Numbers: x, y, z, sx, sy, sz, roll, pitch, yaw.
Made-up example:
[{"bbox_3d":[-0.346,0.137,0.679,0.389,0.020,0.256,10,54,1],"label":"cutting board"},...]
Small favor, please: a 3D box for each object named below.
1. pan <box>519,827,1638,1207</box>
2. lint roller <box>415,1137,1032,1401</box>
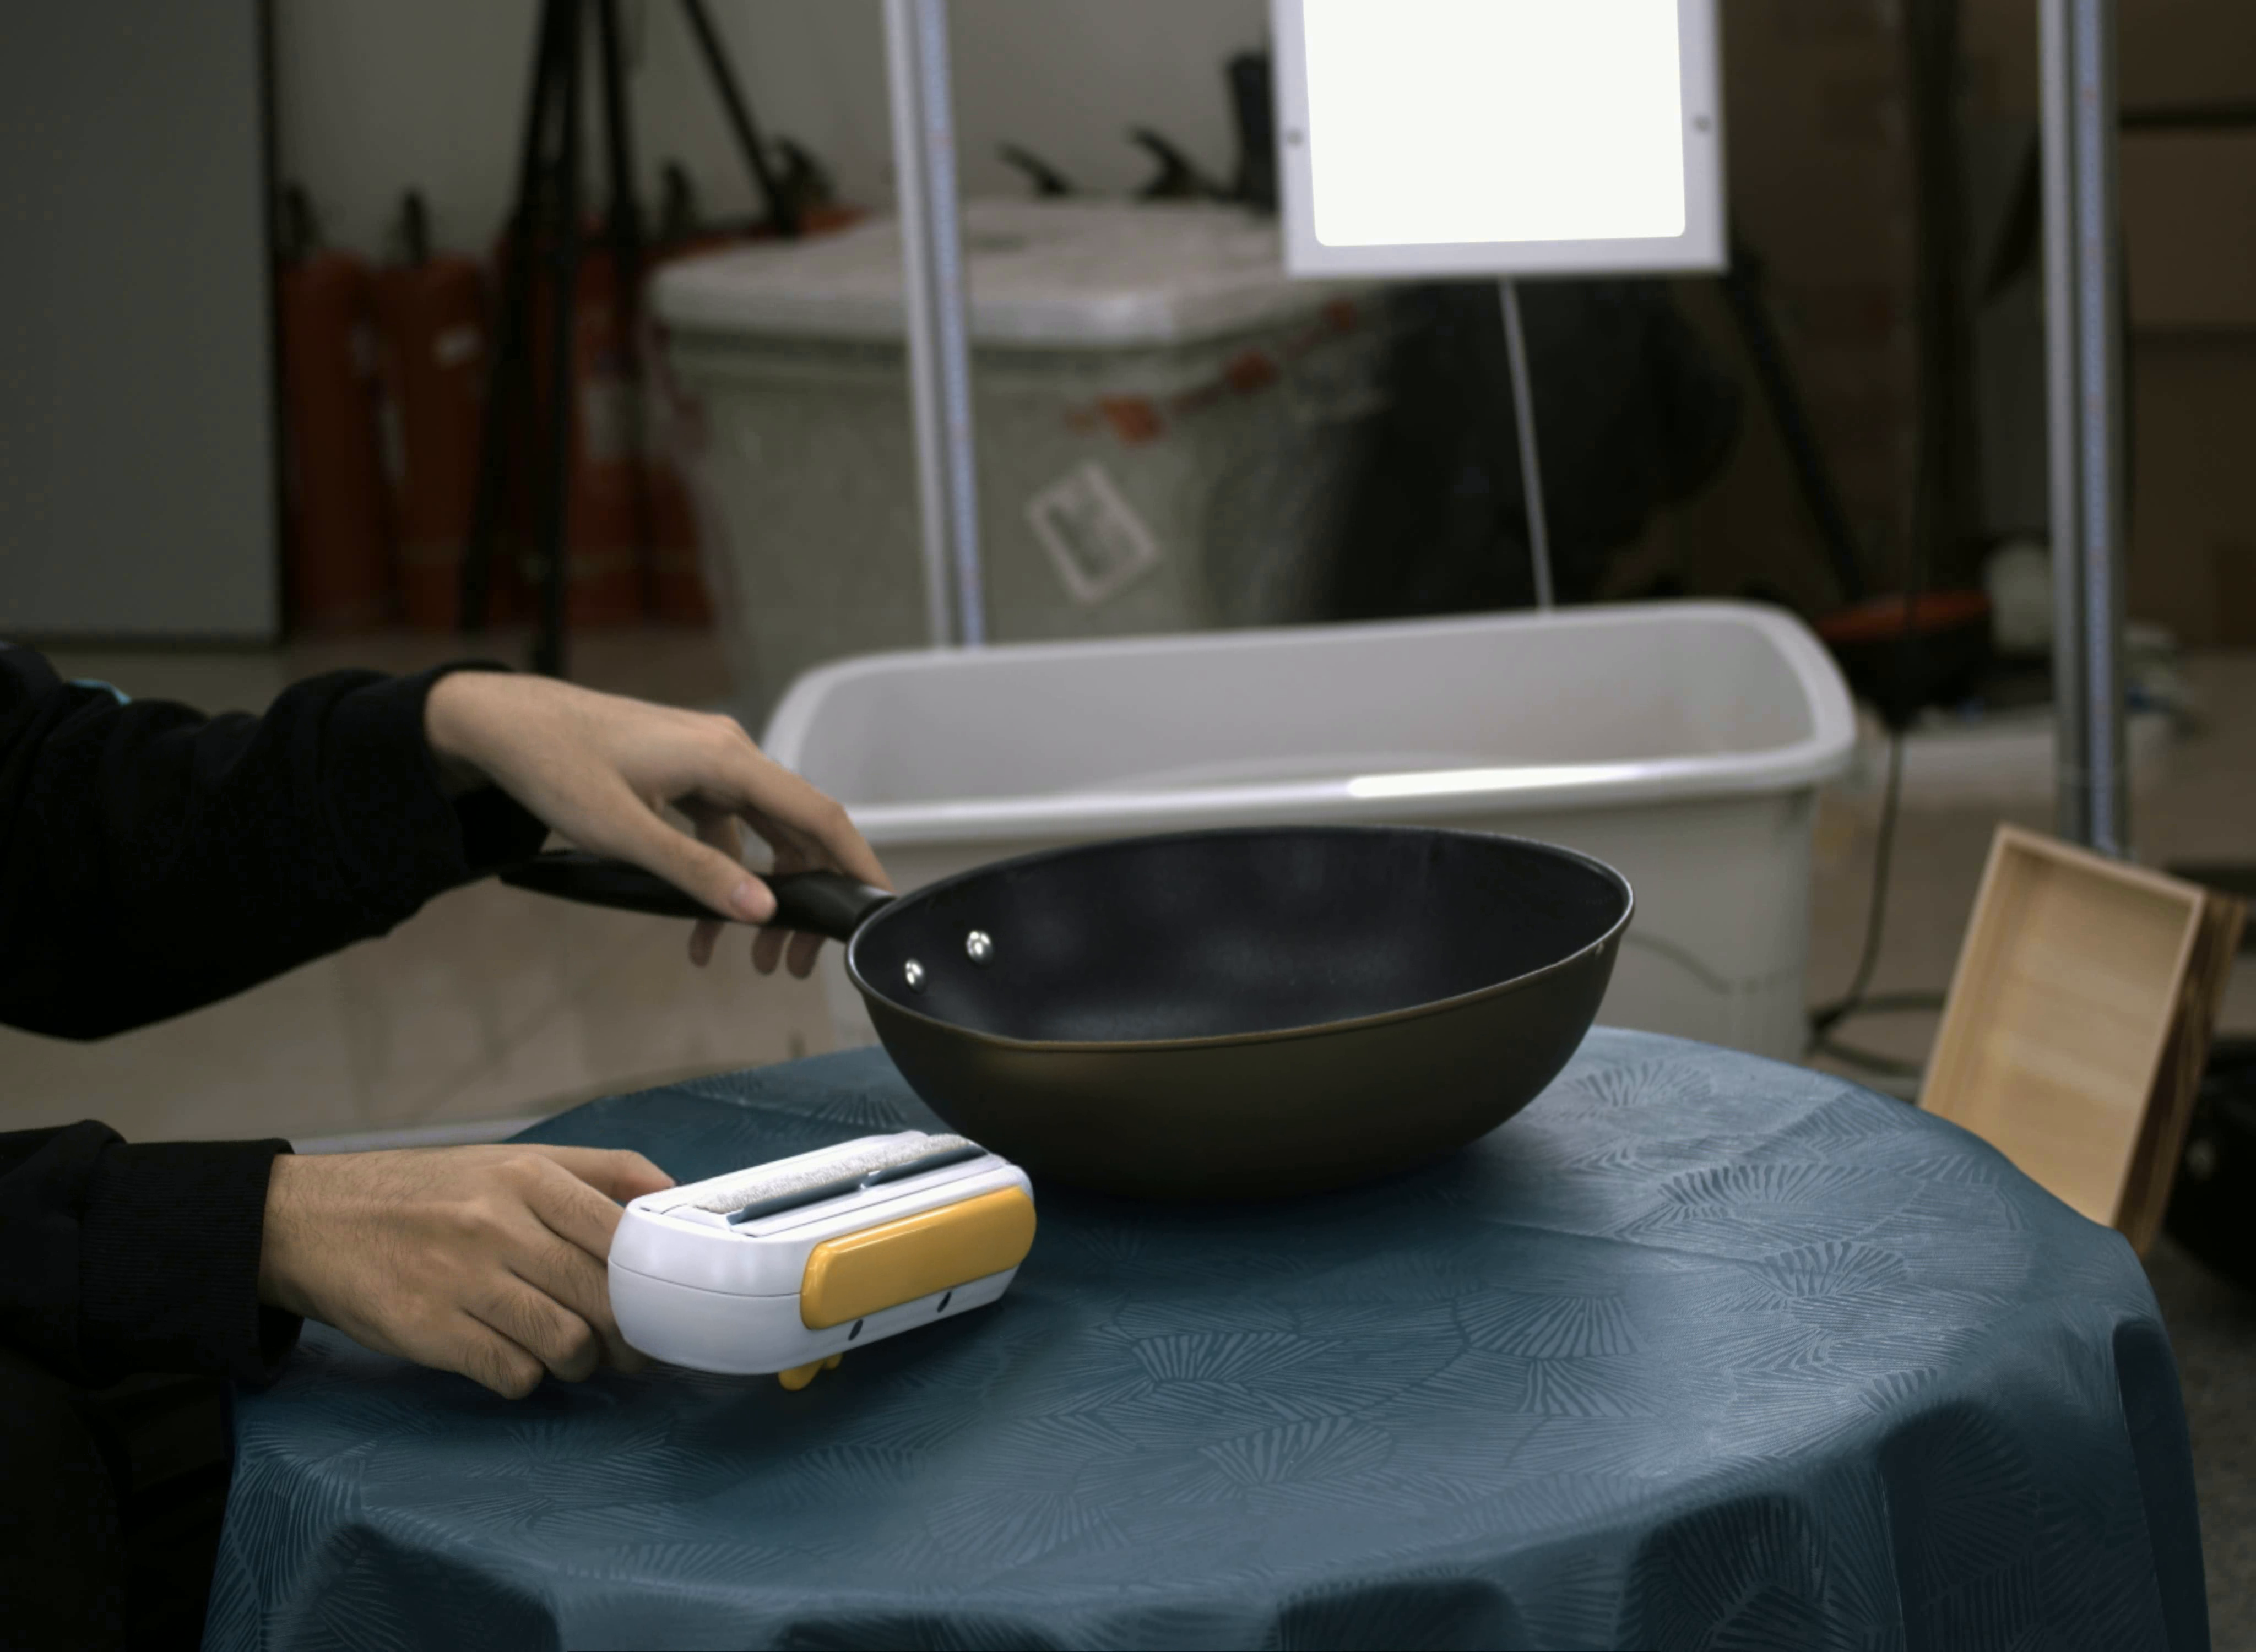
[{"bbox_3d":[-0.035,0.066,1.982,0.473,0.087,0.281,4,17,34],"label":"pan"},{"bbox_3d":[-0.148,0.139,1.757,0.196,0.074,0.188,1,10,32],"label":"lint roller"}]
